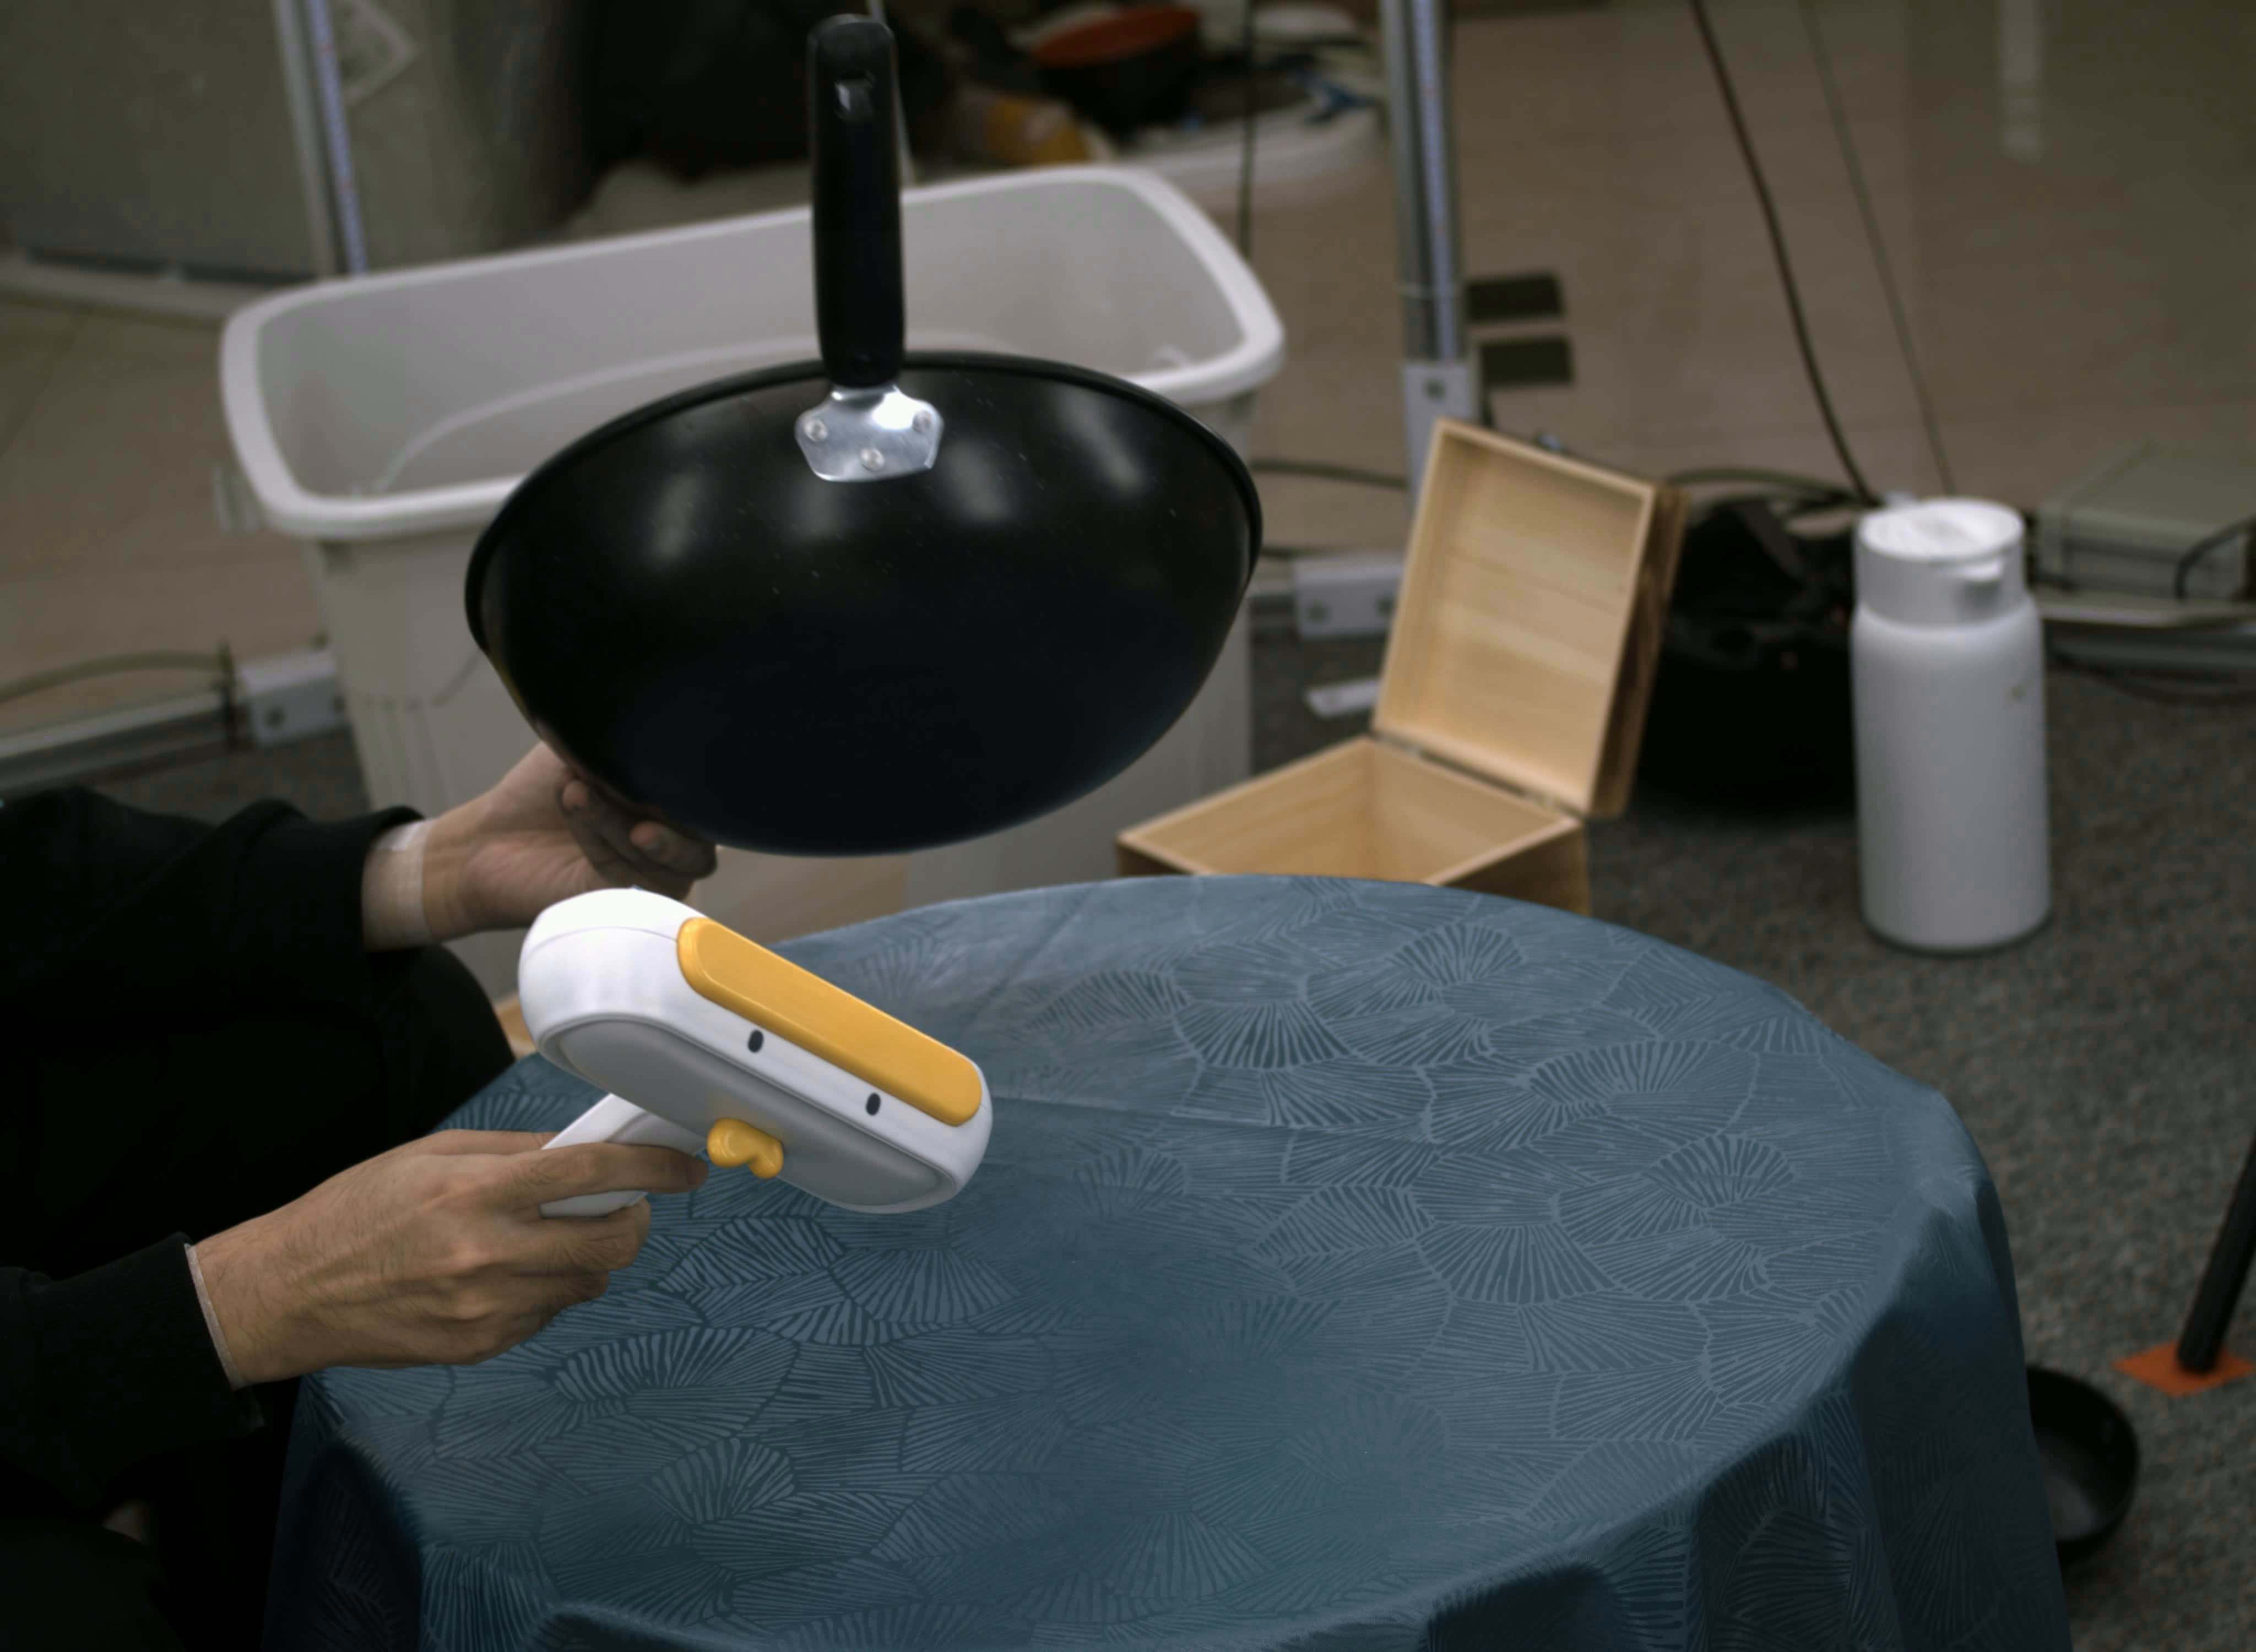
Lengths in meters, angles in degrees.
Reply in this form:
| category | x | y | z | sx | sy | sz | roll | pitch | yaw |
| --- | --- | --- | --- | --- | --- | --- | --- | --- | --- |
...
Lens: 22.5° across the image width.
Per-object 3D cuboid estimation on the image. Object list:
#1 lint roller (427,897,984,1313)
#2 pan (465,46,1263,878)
| category | x | y | z | sx | sy | sz | roll | pitch | yaw |
| --- | --- | --- | --- | --- | --- | --- | --- | --- | --- |
| lint roller | -0.170 | 0.105 | 1.931 | 0.194 | 0.194 | 0.073 | -29 | 55 | 35 |
| pan | -0.094 | -0.107 | 2.092 | 0.309 | 0.484 | 0.110 | -6 | 63 | -6 |
